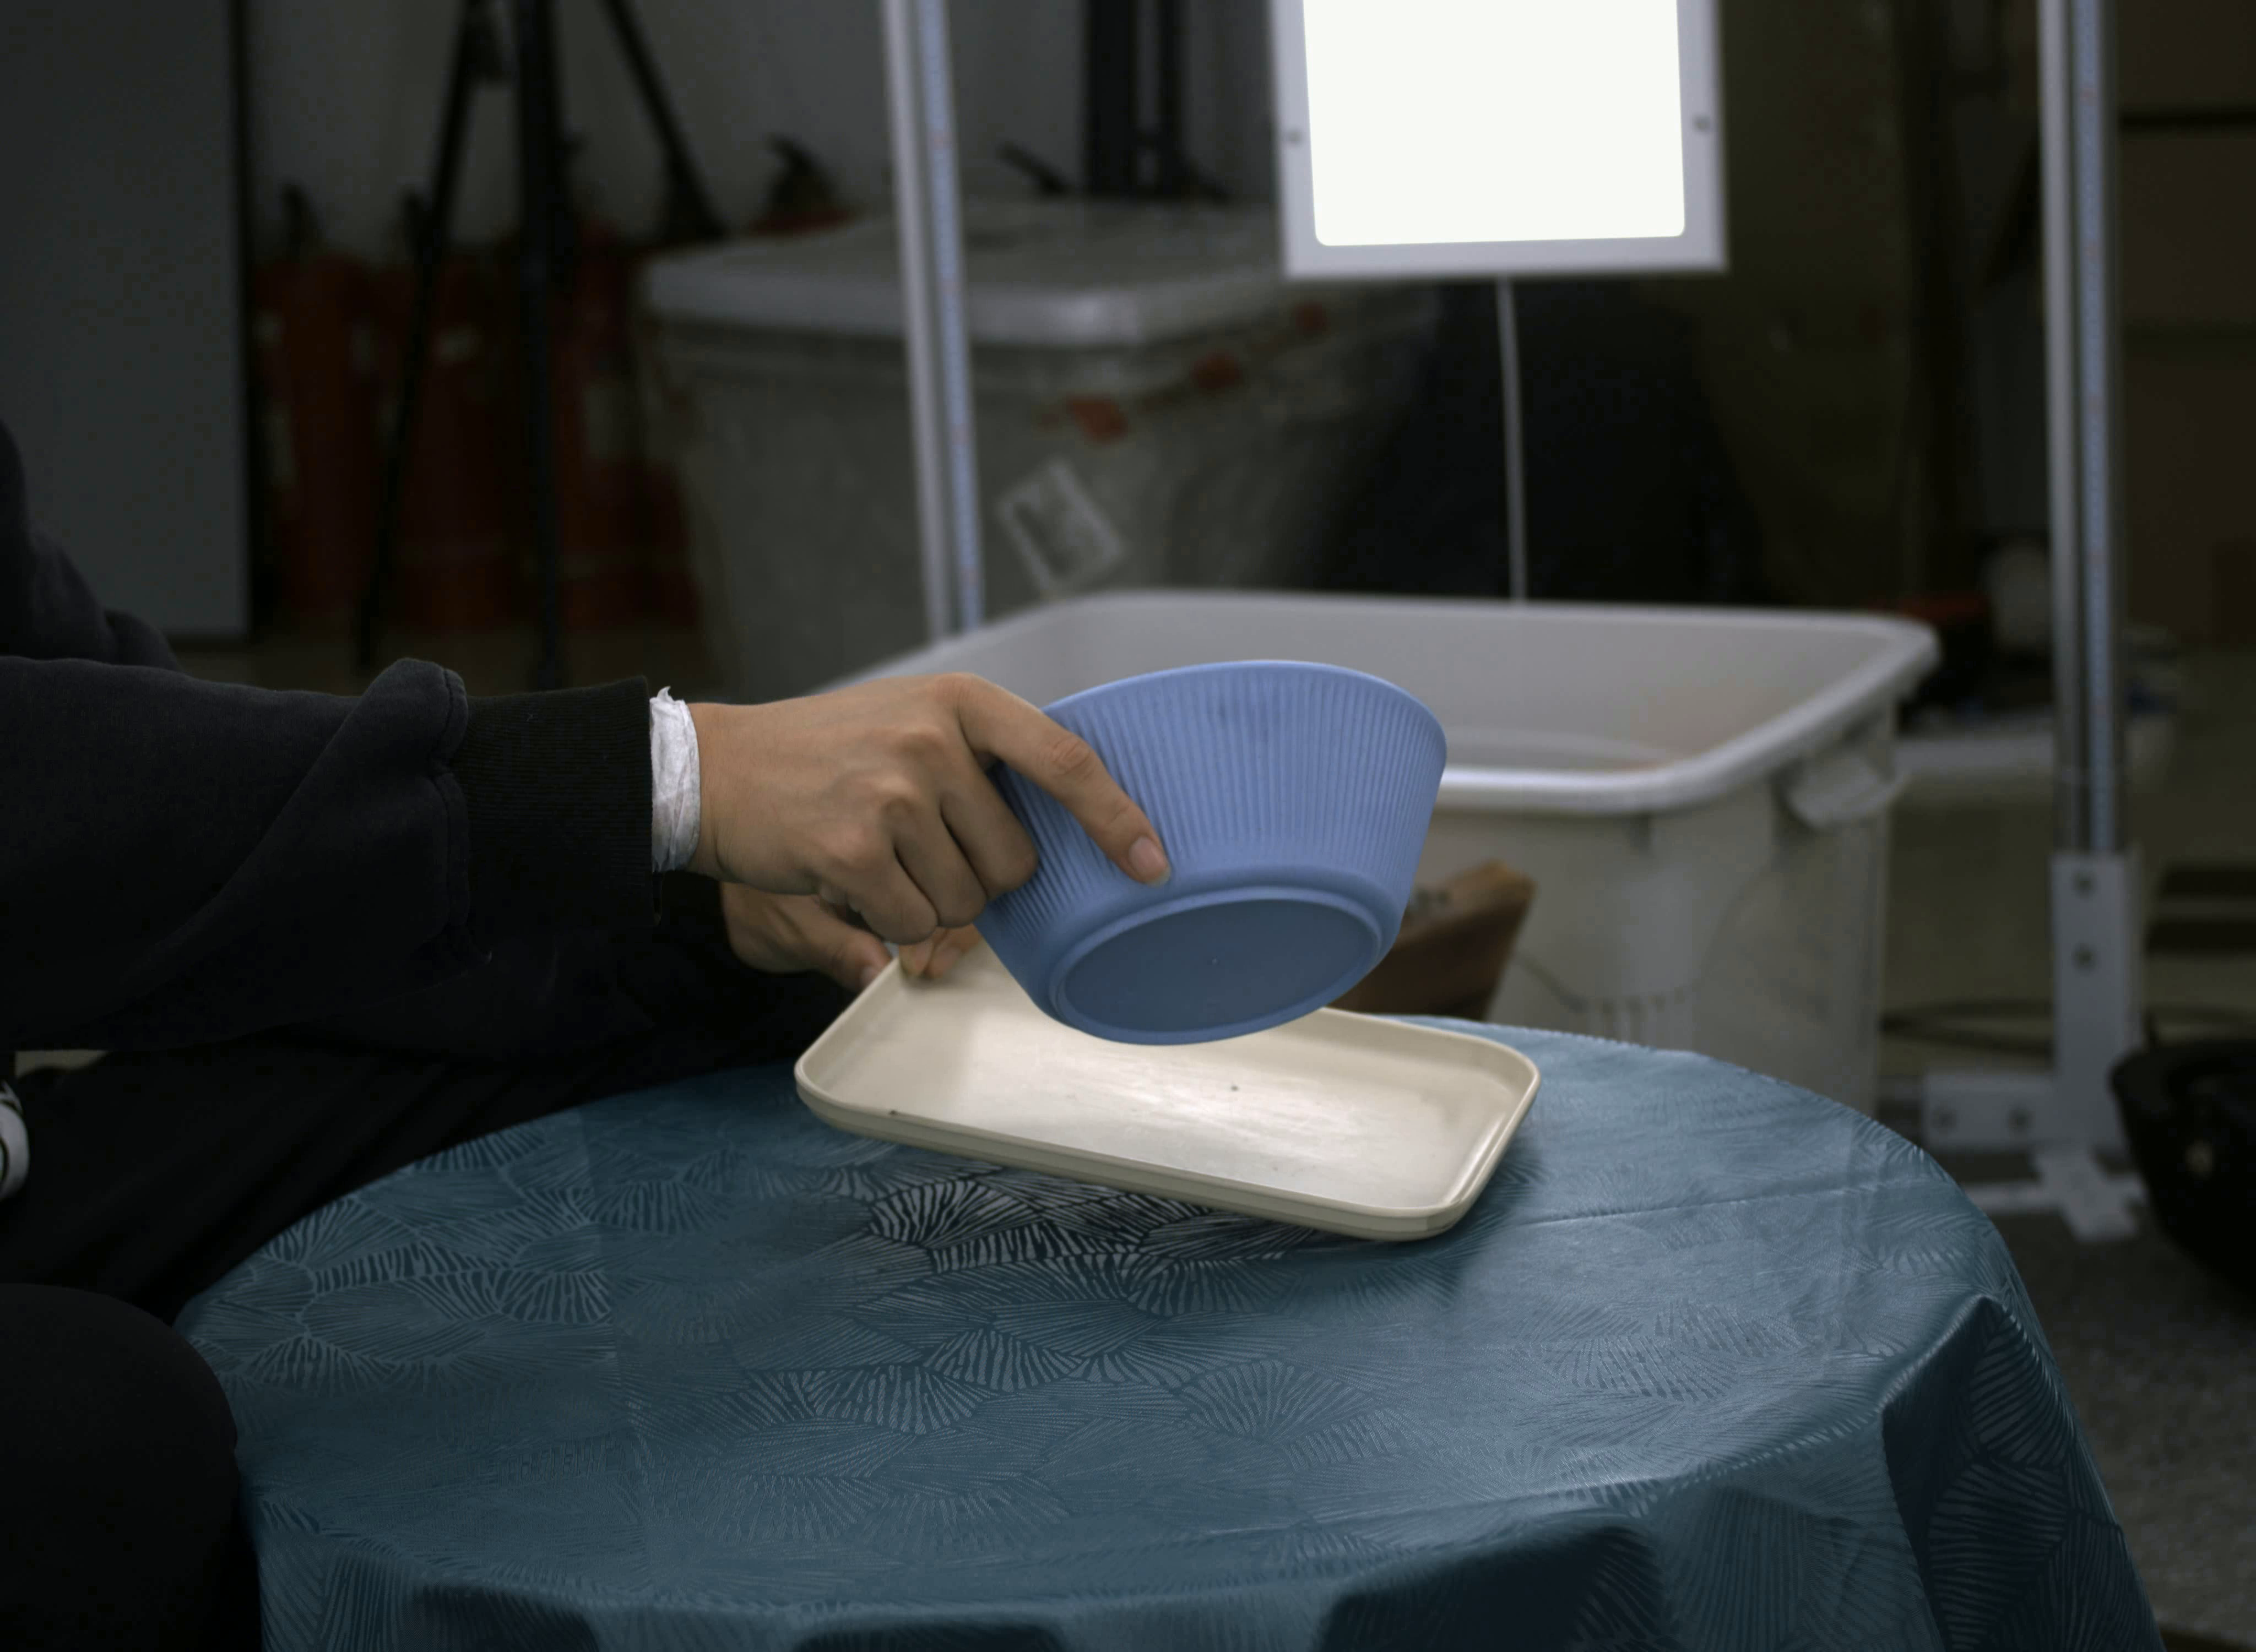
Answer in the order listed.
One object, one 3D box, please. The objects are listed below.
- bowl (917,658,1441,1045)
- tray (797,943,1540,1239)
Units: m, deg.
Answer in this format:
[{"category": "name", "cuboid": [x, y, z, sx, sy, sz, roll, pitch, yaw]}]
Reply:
[{"category": "bowl", "cuboid": [0.022, 0.017, 1.789, 0.175, 0.070, 0.177, -7, -26, -5]}, {"category": "tray", "cuboid": [0.016, 0.091, 1.905, 0.242, 0.017, 0.168, 10, 20, 15]}]
